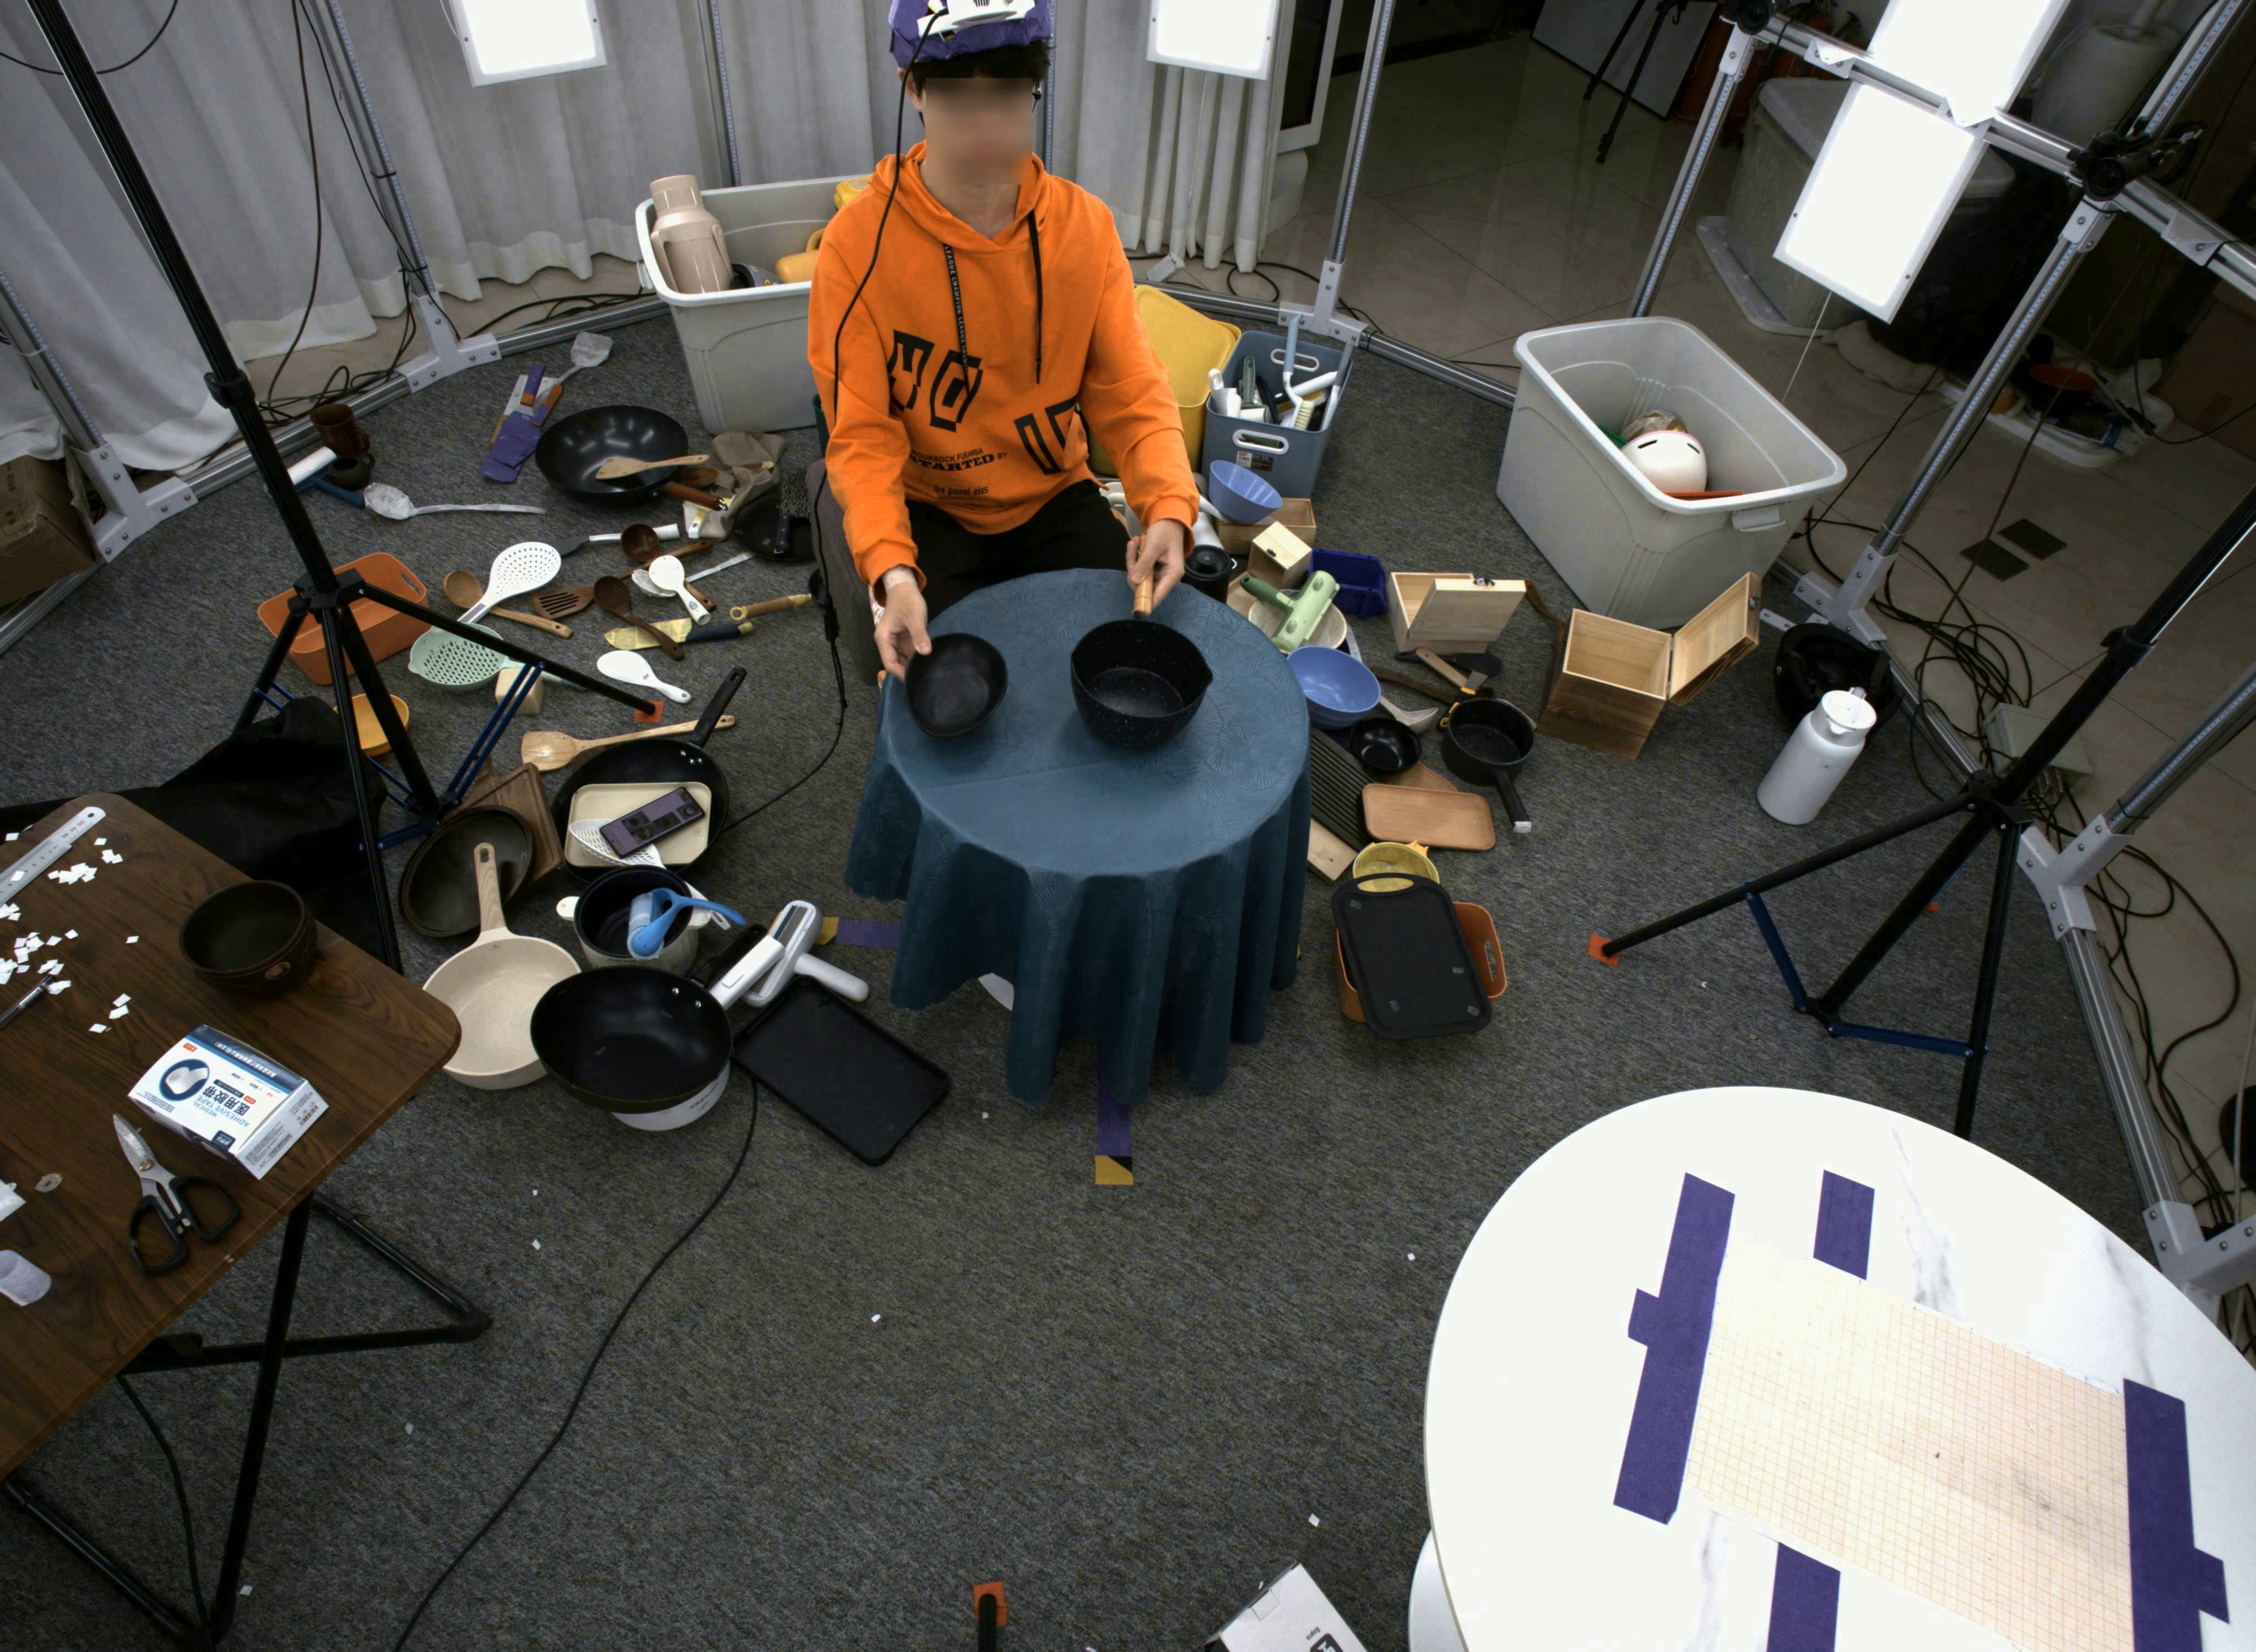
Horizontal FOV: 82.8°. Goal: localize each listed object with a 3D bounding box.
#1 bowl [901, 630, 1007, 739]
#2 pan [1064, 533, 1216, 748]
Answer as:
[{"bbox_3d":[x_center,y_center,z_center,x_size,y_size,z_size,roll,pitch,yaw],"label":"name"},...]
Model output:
[{"bbox_3d":[-0.237,-0.183,1.749,0.137,0.065,0.174,15,60,0],"label":"bowl"},{"bbox_3d":[0.014,-0.261,1.803,0.207,0.106,0.351,5,52,-4],"label":"pan"}]
